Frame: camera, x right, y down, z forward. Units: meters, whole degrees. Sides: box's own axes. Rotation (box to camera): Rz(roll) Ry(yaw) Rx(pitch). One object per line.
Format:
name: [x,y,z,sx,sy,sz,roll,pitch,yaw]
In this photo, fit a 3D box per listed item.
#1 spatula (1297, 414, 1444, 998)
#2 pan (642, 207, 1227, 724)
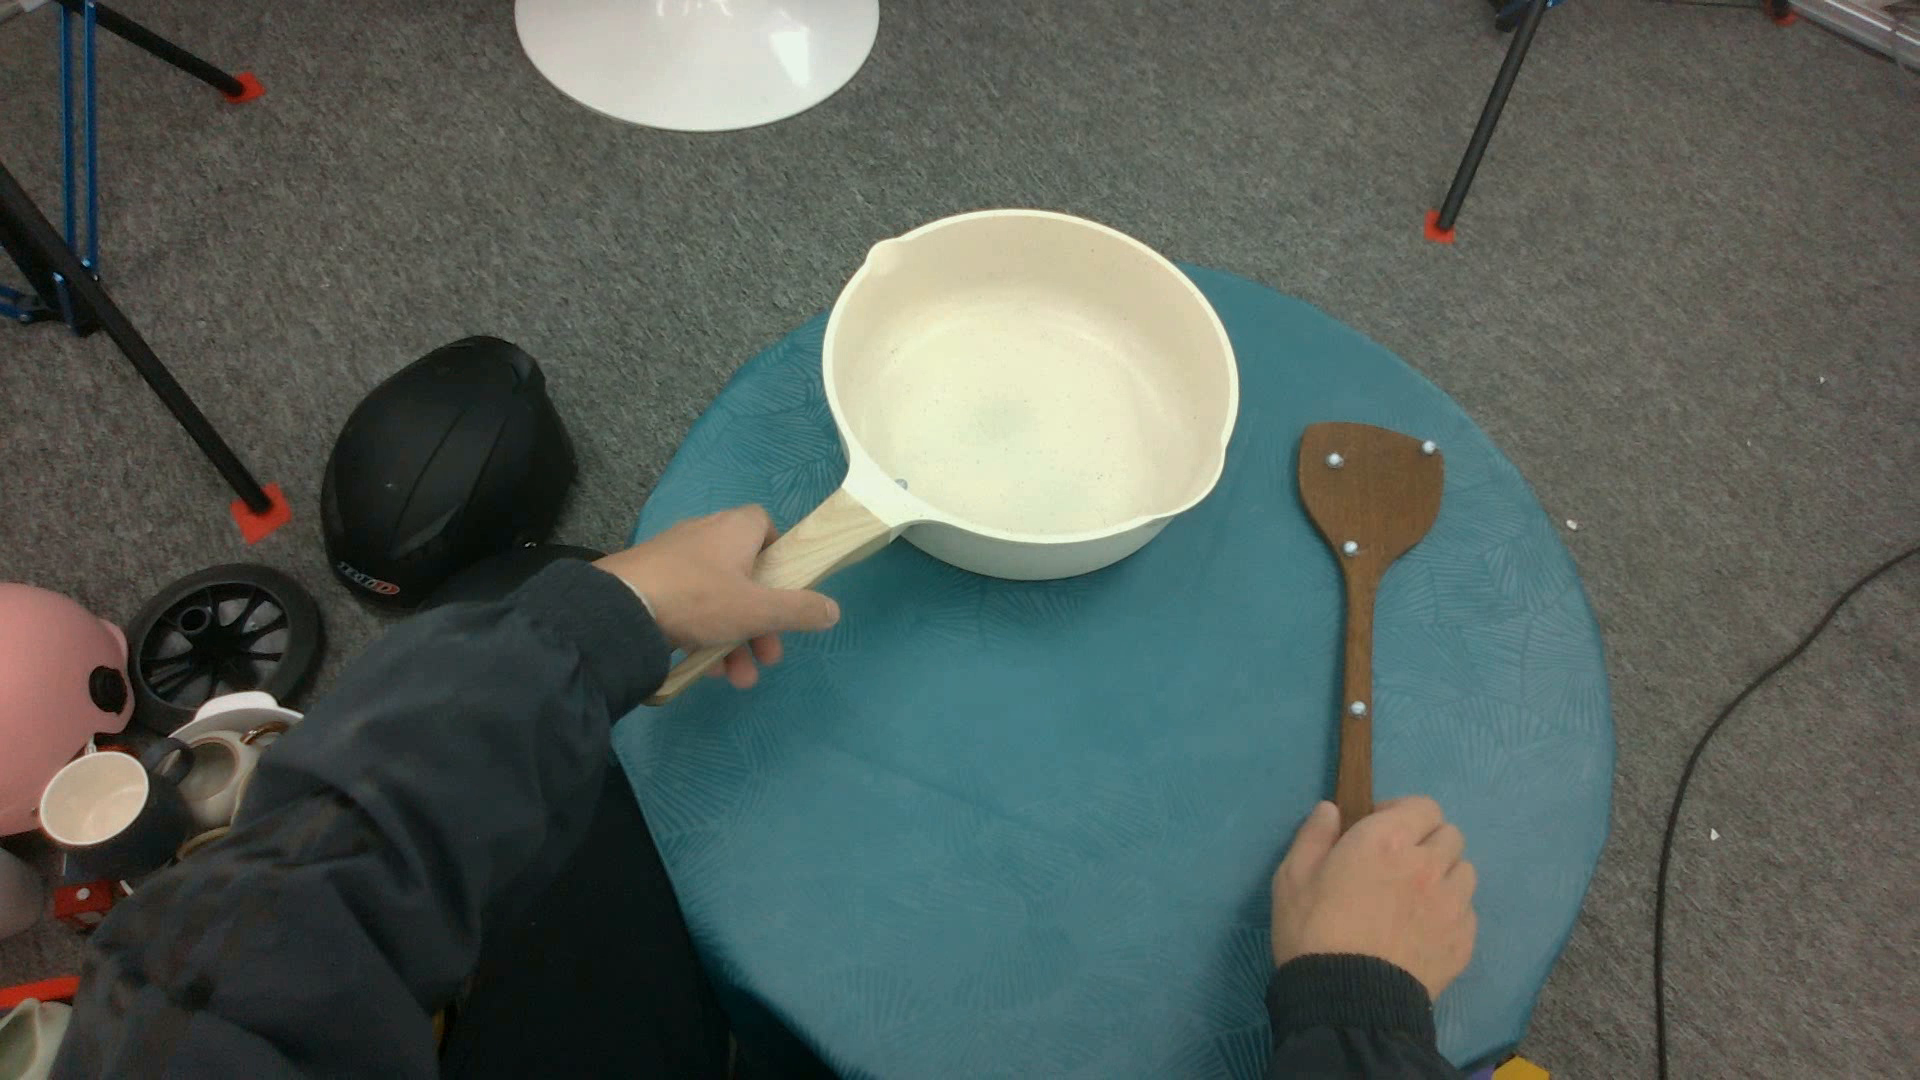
spatula: [0.243,0.077,0.820,0.096,0.016,0.388,9,57,3]
pan: [-0.022,-0.034,0.823,0.263,0.101,0.436,37,63,16]
